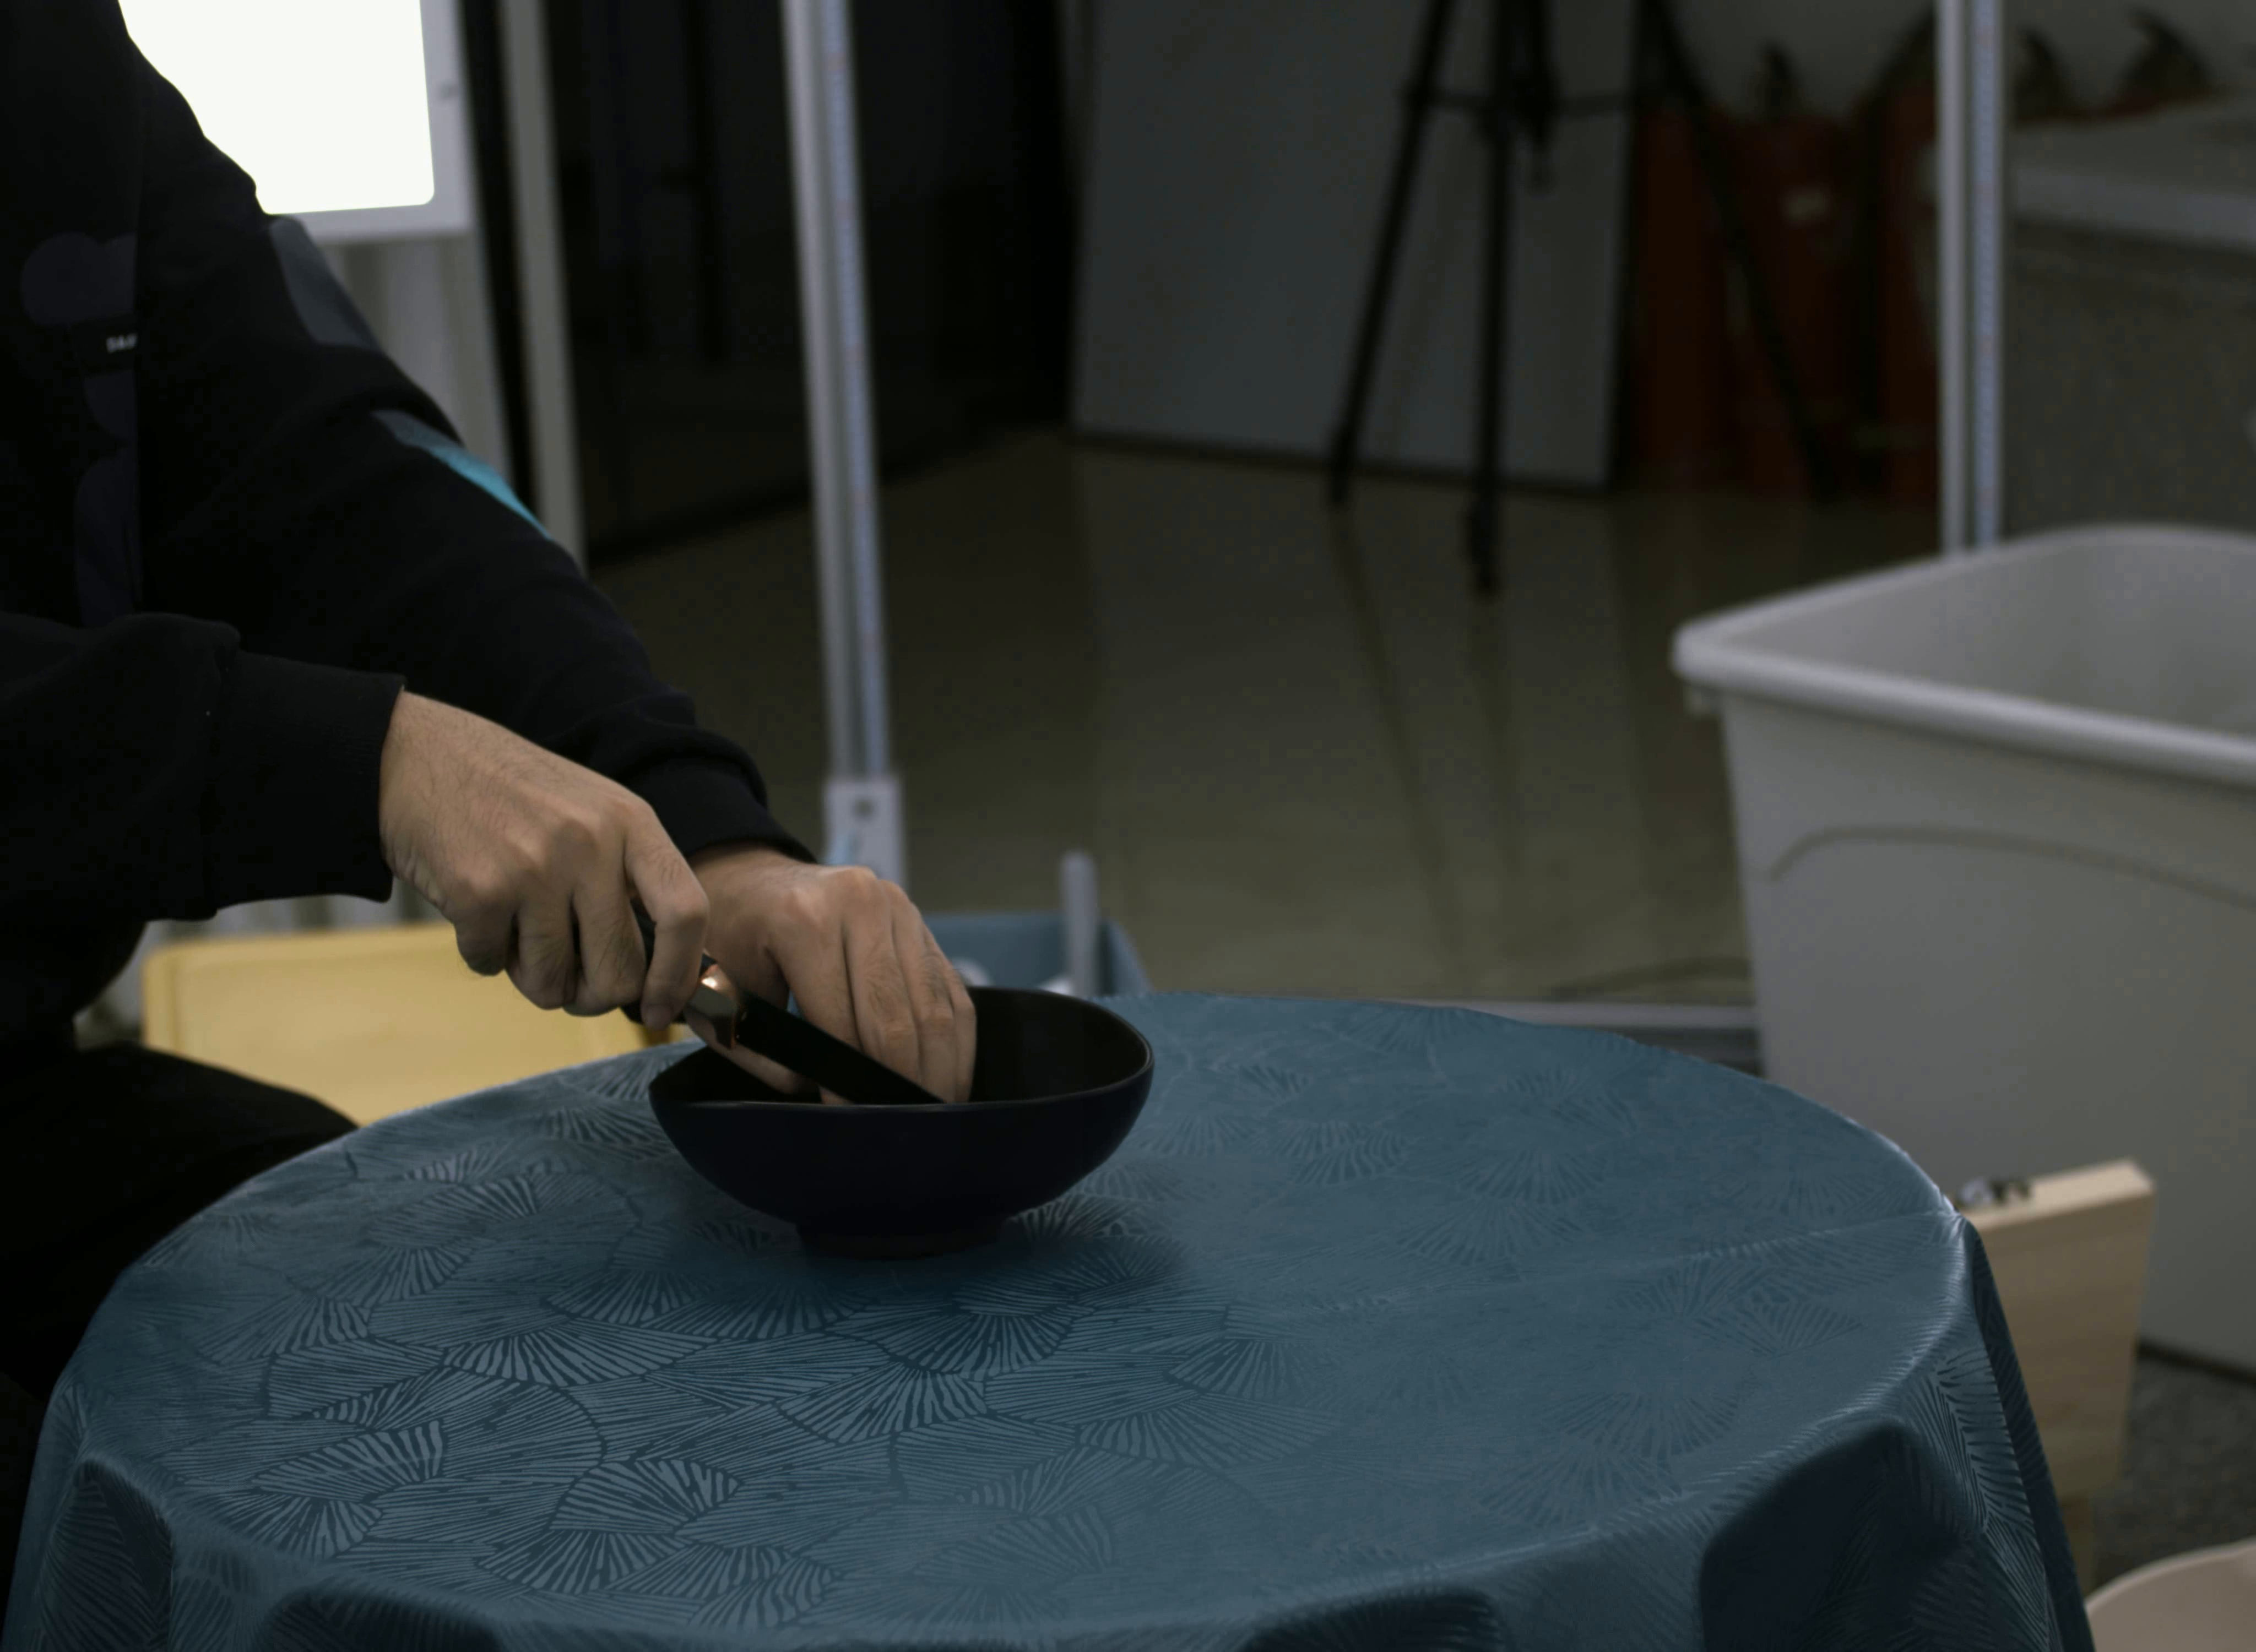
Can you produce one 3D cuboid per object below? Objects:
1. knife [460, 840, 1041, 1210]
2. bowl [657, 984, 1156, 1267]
[{"bbox_3d":[-0.122,0.064,1.750,0.225,0.026,0.017,29,41,13],"label":"knife"},{"bbox_3d":[-0.071,0.101,1.738,0.170,0.067,0.136,-2,13,18],"label":"bowl"}]
